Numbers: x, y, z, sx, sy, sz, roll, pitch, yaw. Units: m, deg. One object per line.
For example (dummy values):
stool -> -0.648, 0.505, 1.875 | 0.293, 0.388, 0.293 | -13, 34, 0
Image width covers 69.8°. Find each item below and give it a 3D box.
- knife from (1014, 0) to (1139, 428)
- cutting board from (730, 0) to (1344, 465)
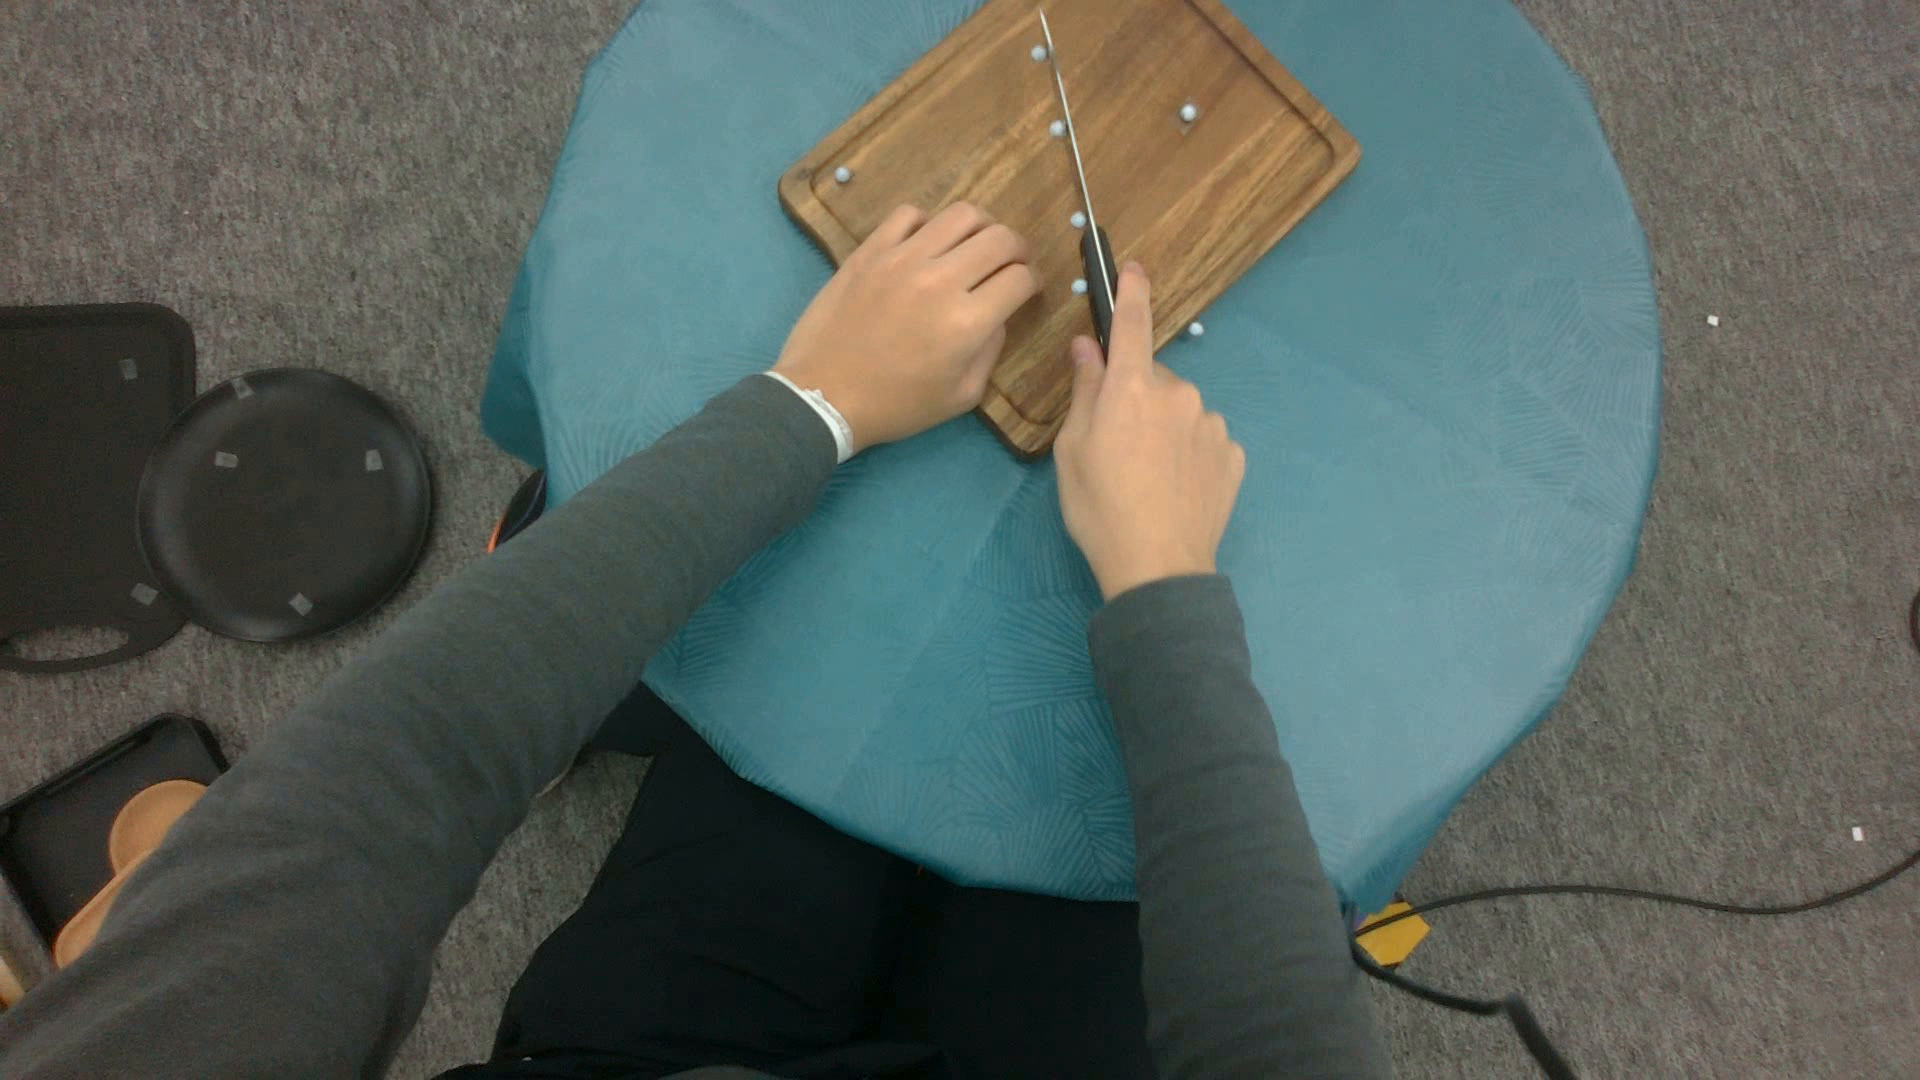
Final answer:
knife -> 0.055, -0.169, 0.688 | 0.016, 0.024, 0.238 | -11, 77, -9
cutting board -> 0.016, -0.165, 0.714 | 0.353, 0.023, 0.201 | -43, 87, -10
